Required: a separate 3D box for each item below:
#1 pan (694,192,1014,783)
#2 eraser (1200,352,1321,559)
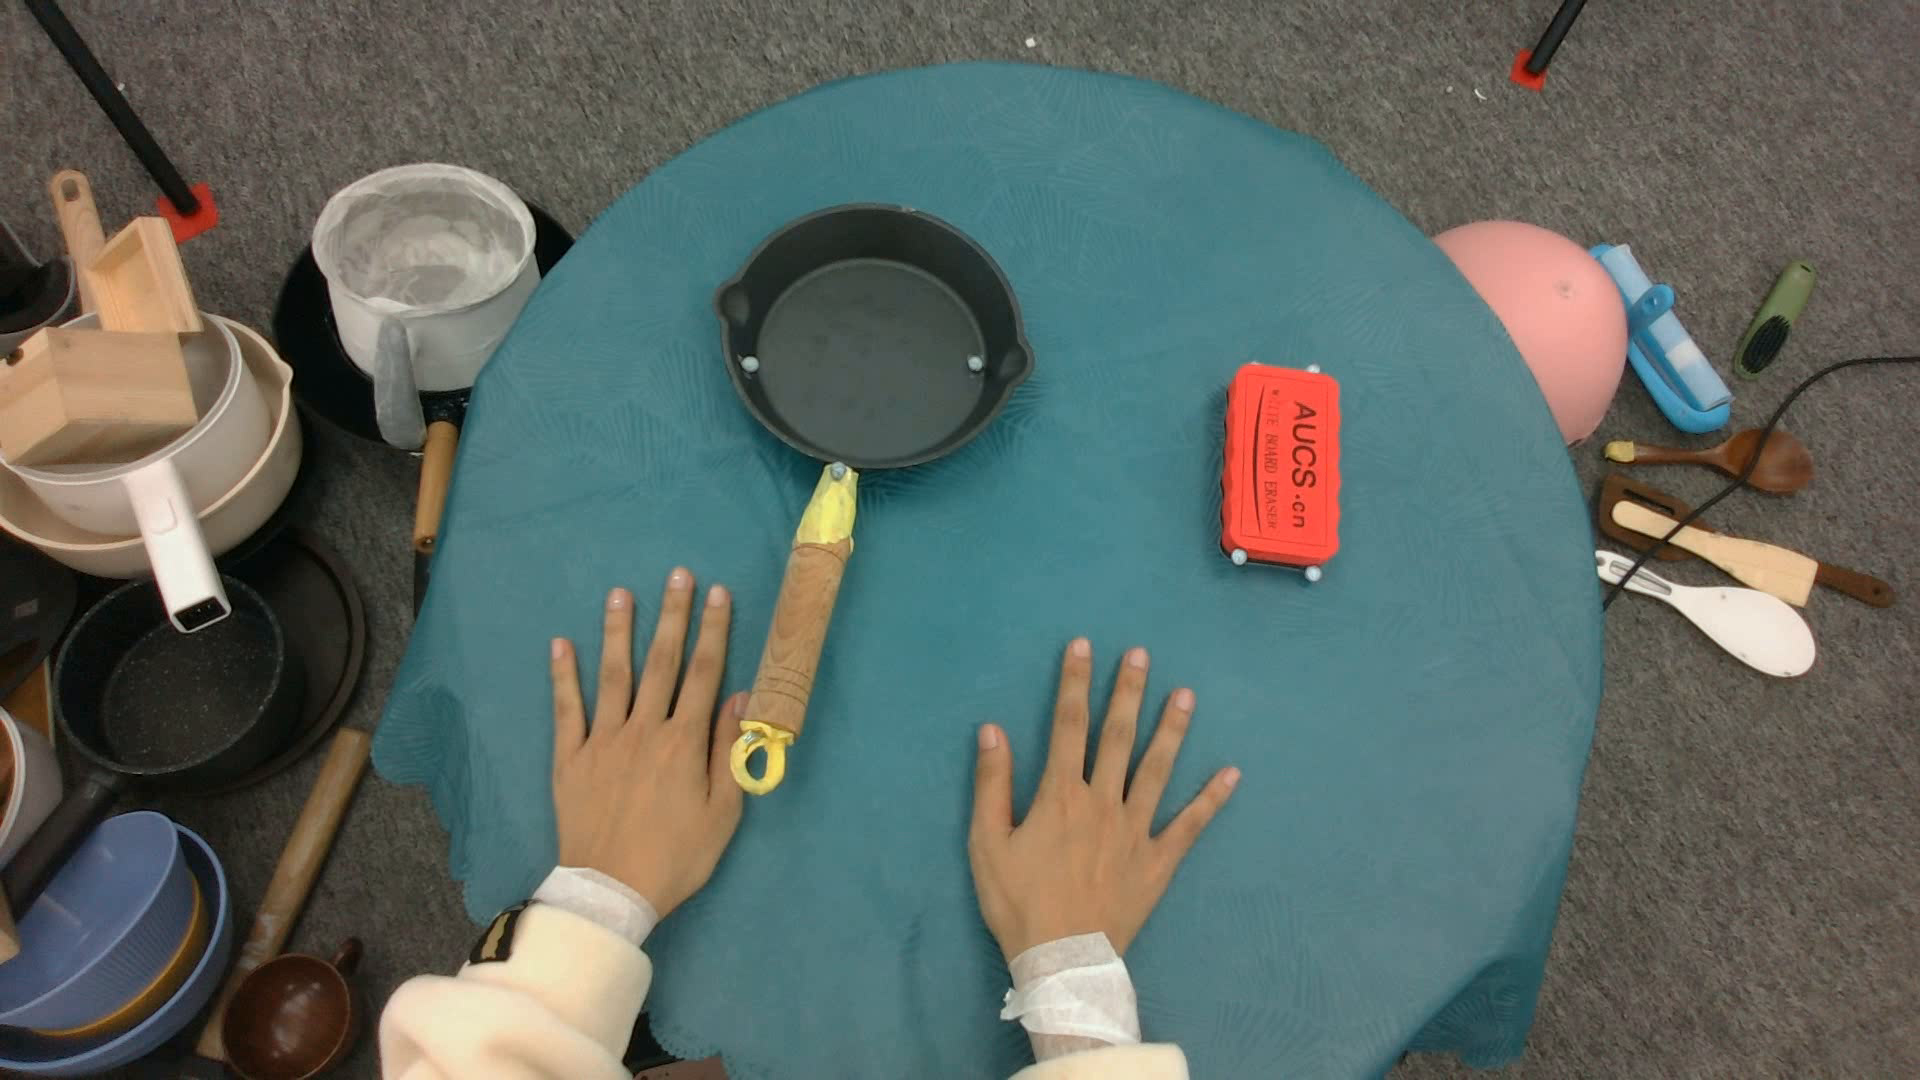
[{"bbox_3d":[-0.072,-0.035,0.685,0.169,0.049,0.325,13,66,-2],"label":"pan"},{"bbox_3d":[0.160,-0.045,0.732,0.059,0.023,0.108,9,67,-4],"label":"eraser"}]
